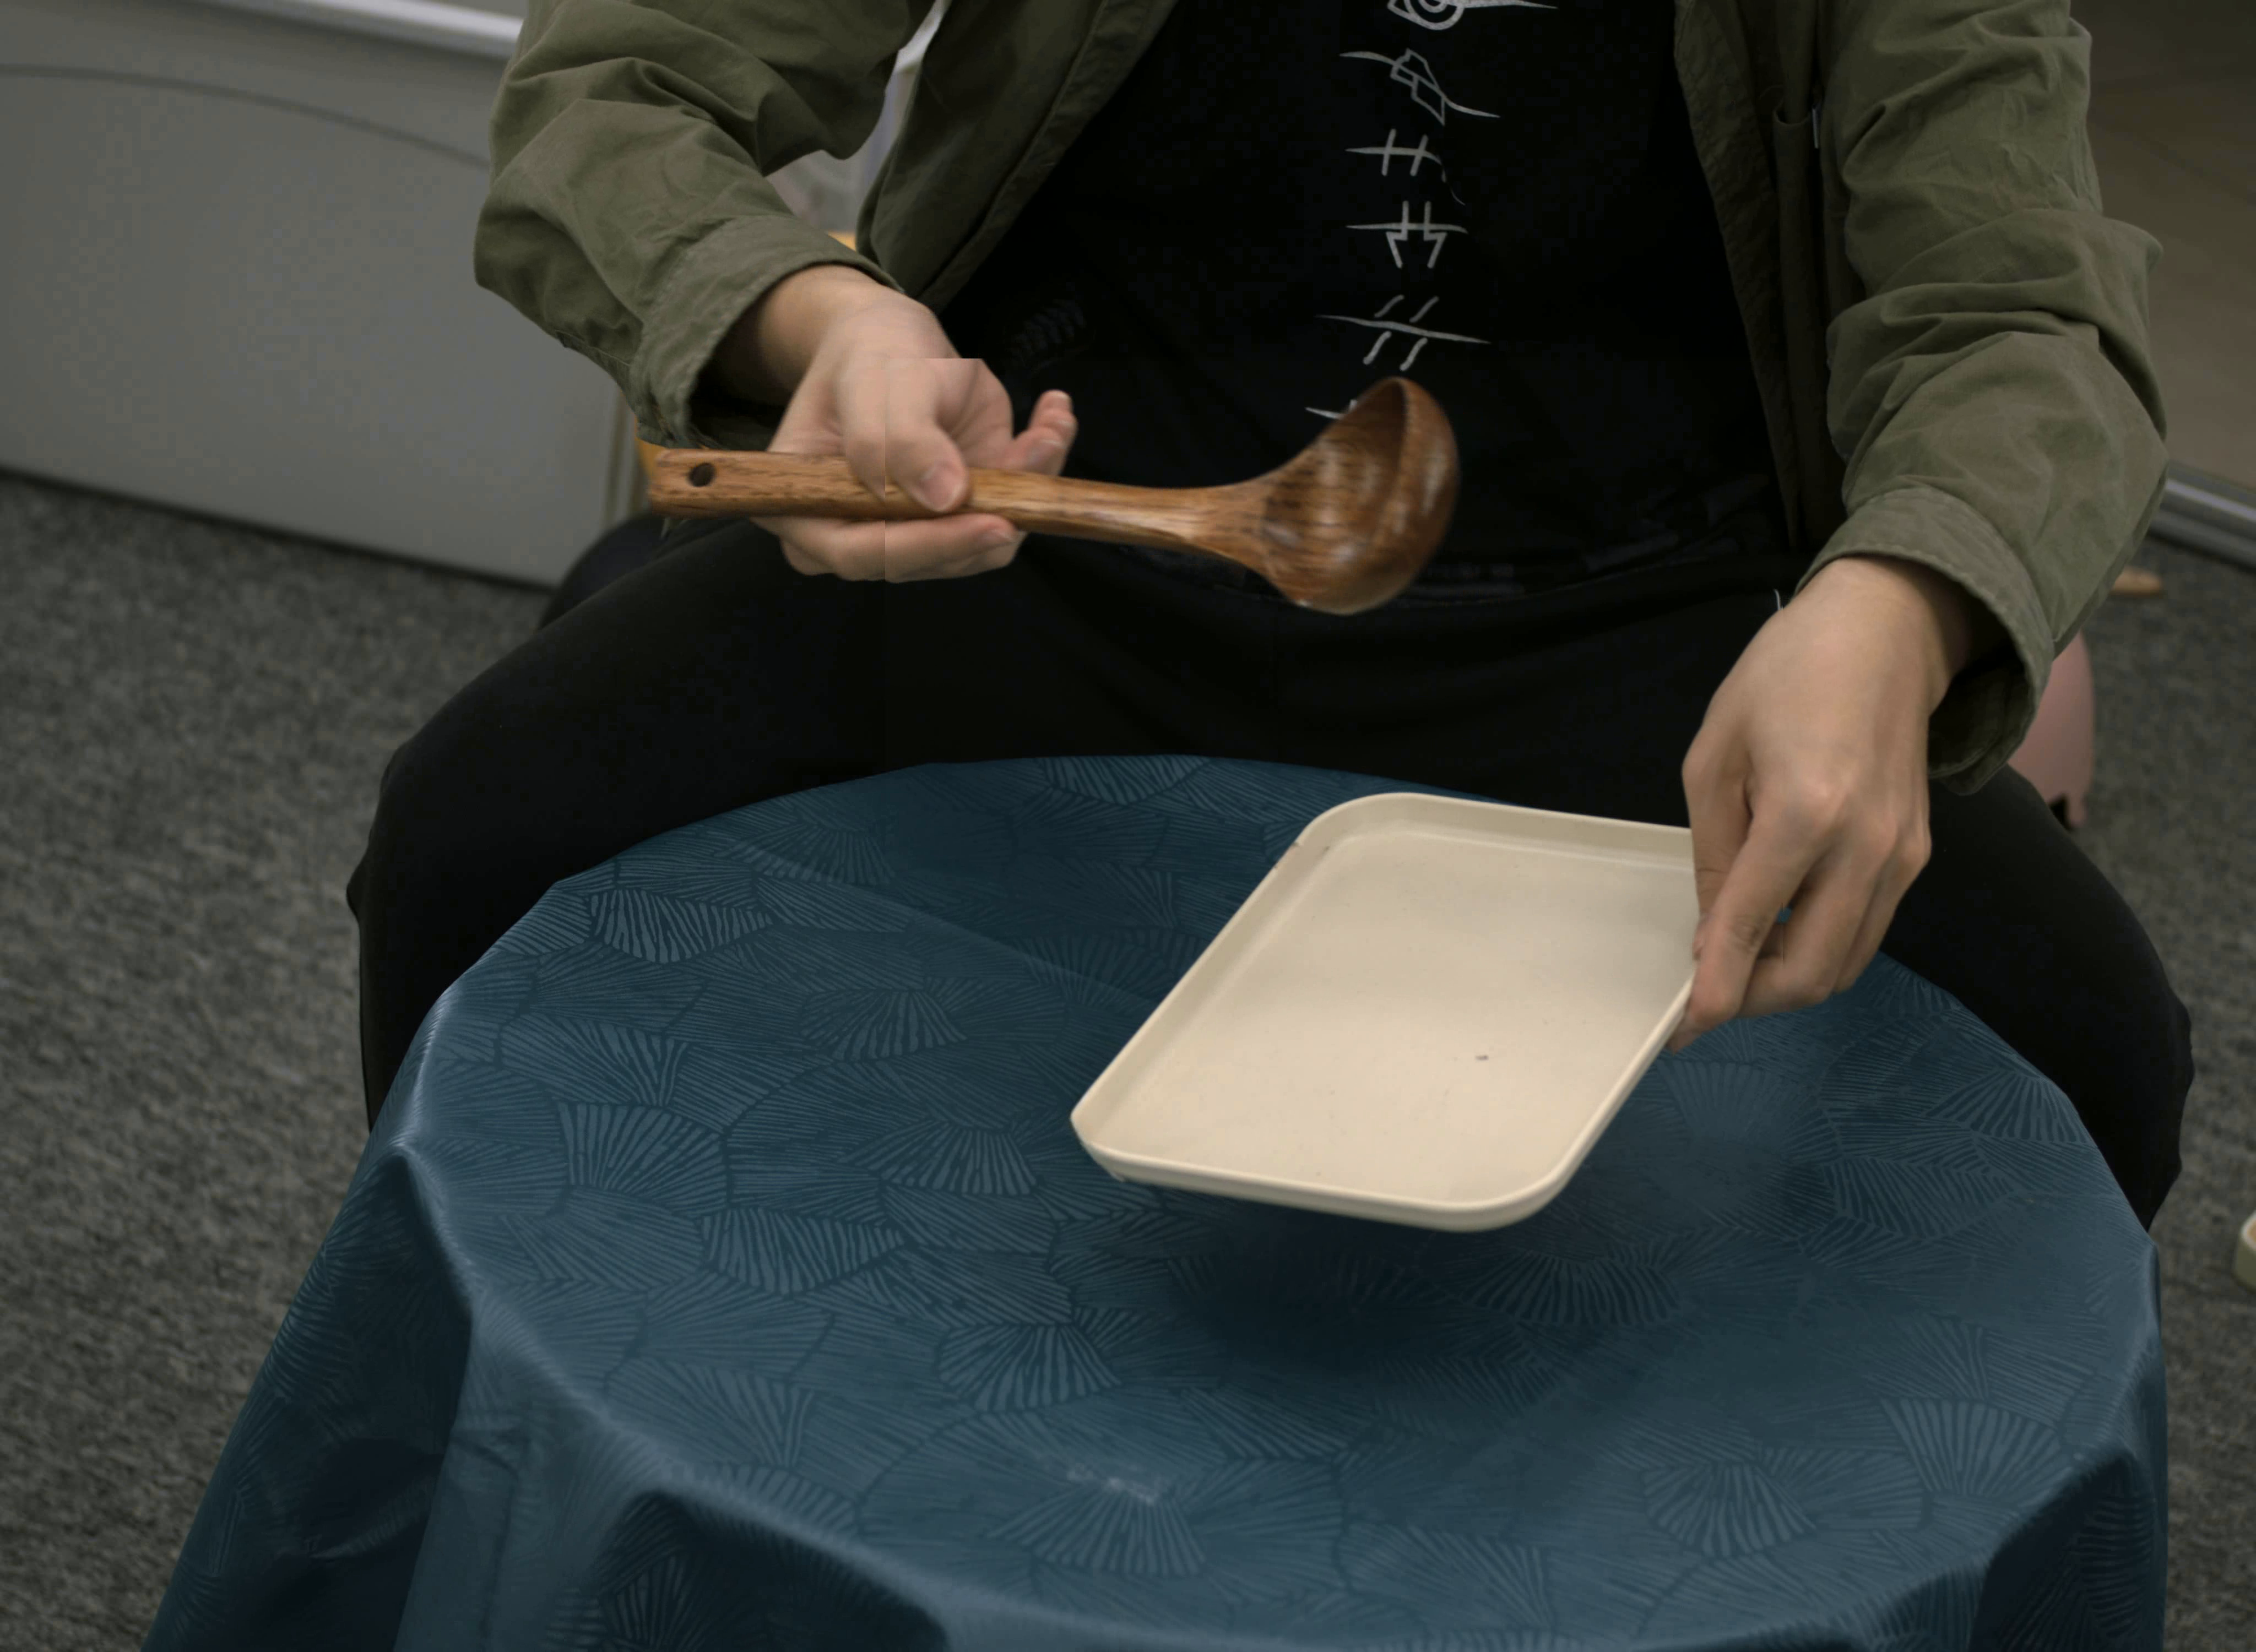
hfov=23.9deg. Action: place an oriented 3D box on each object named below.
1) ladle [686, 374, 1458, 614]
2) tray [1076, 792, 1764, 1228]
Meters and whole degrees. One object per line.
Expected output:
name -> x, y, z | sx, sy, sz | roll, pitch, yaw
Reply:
ladle -> -0.024, -0.119, 1.749 | 0.274, 0.076, 0.082 | 8, 60, 15
tray -> 0.100, 0.059, 1.760 | 0.172, 0.017, 0.240 | 7, 32, 26
